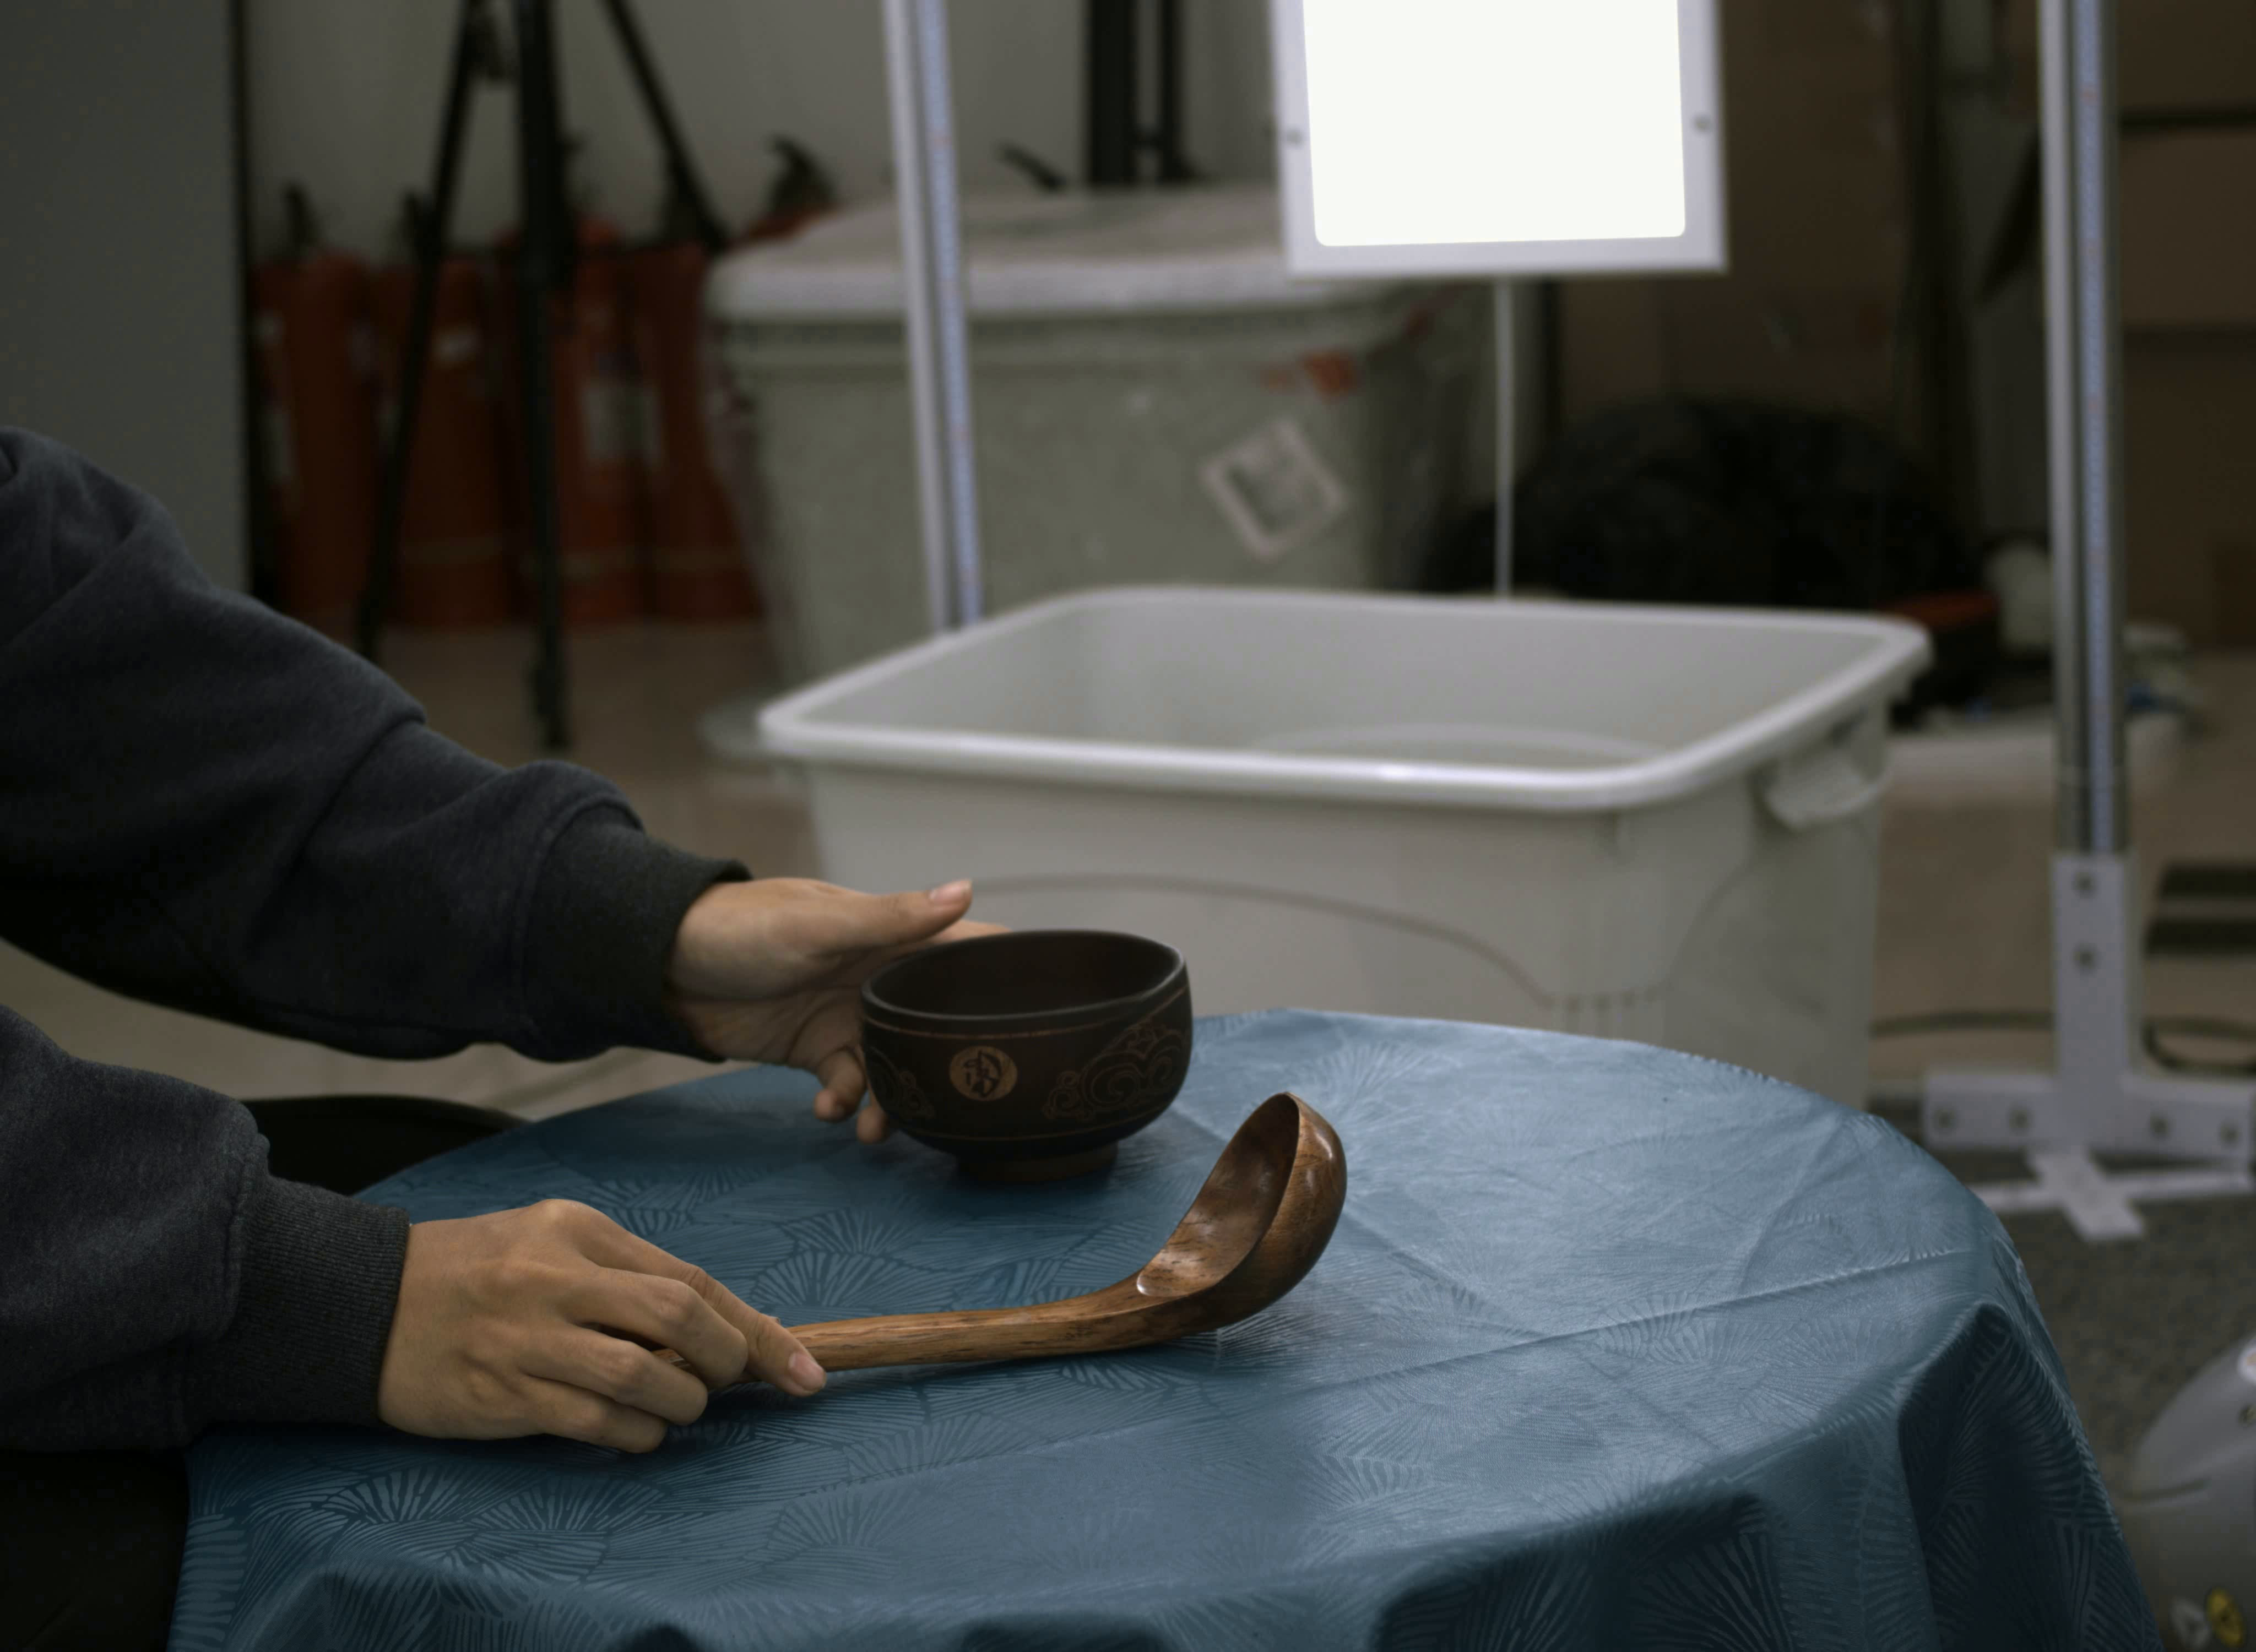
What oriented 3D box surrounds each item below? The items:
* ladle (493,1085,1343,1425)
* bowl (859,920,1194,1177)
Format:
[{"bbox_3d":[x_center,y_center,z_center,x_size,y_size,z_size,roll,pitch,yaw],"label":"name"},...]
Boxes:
[{"bbox_3d":[-0.065,0.133,1.726,0.272,0.077,0.082,-6,8,-6],"label":"ladle"},{"bbox_3d":[-0.034,0.082,1.936,0.118,0.070,0.118,-5,14,0],"label":"bowl"}]
